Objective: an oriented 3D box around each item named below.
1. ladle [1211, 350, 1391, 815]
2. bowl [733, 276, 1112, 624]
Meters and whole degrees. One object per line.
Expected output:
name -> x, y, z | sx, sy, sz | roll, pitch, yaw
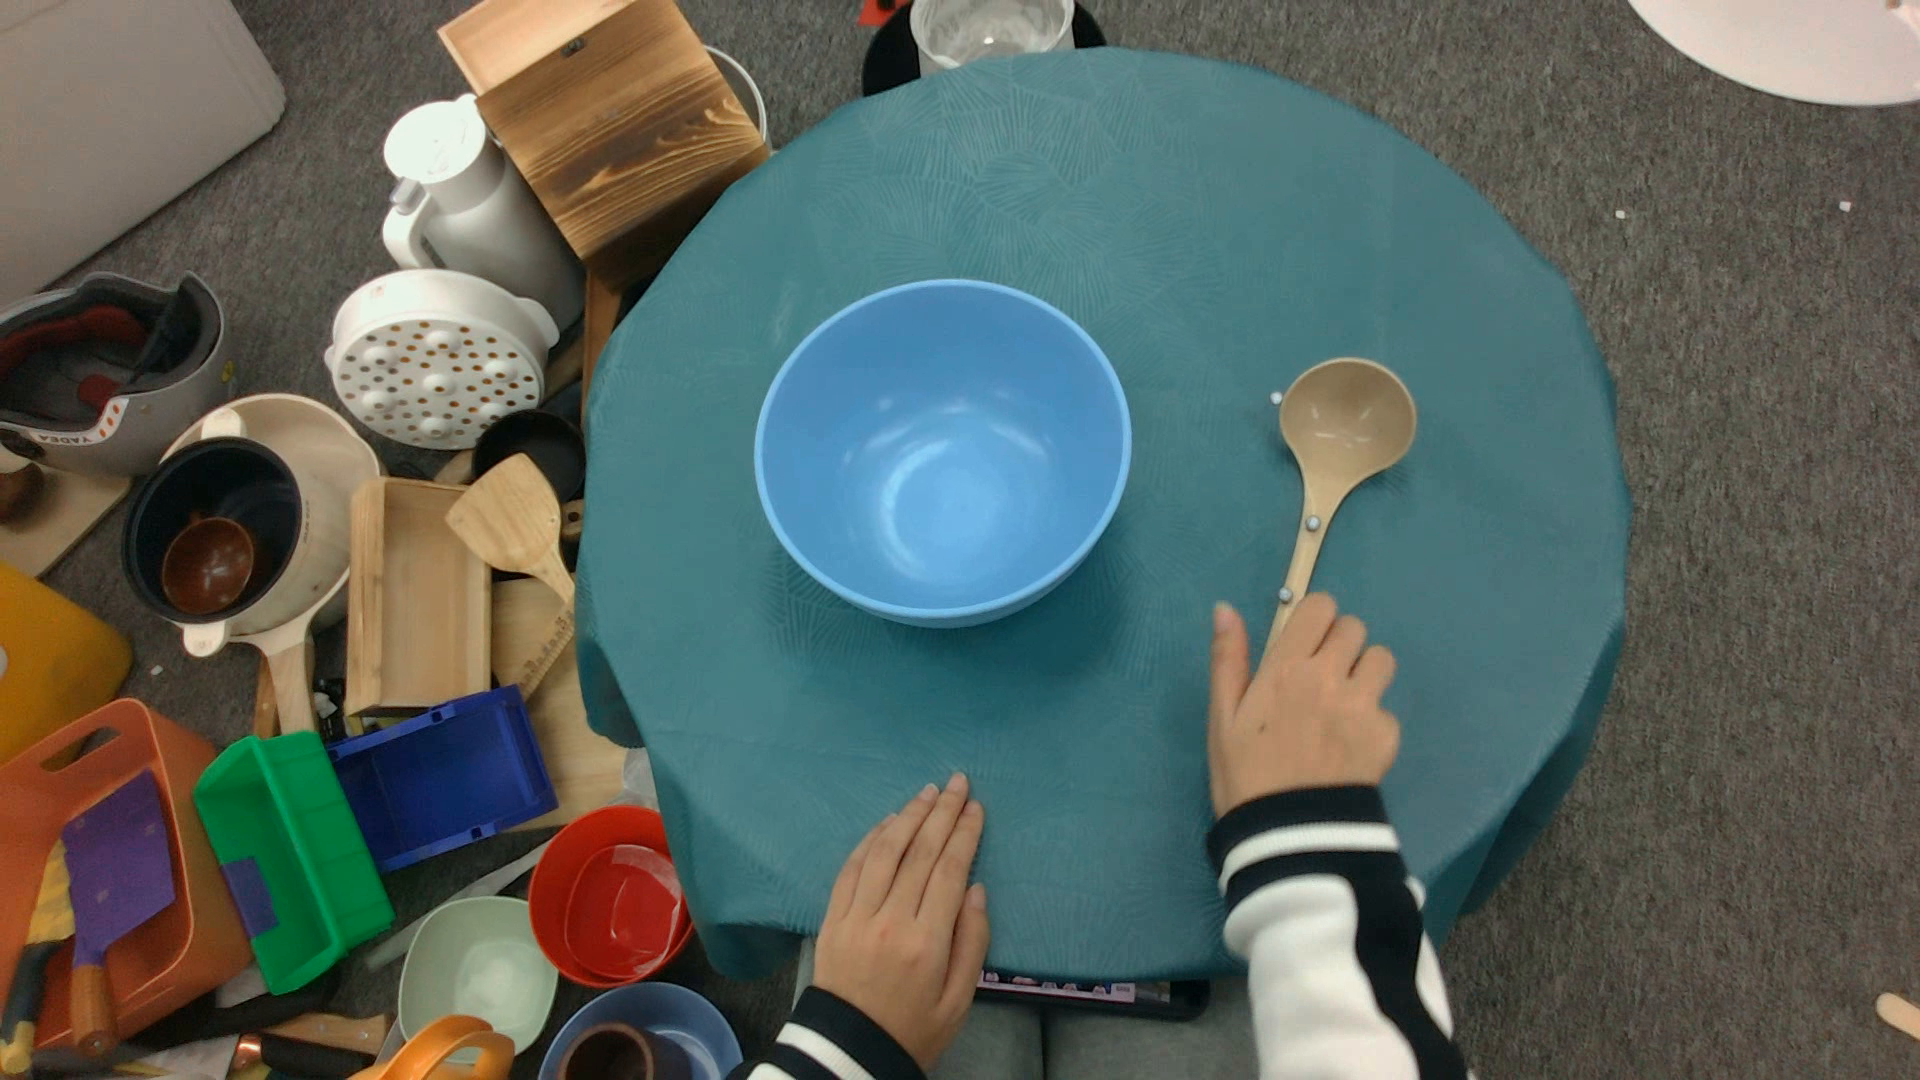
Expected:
ladle -> 0.172, 0.016, 0.726 | 0.072, 0.072, 0.255 | 14, 68, 11
bowl -> -0.018, -0.036, 0.753 | 0.196, 0.095, 0.197 | -1, 66, 2
